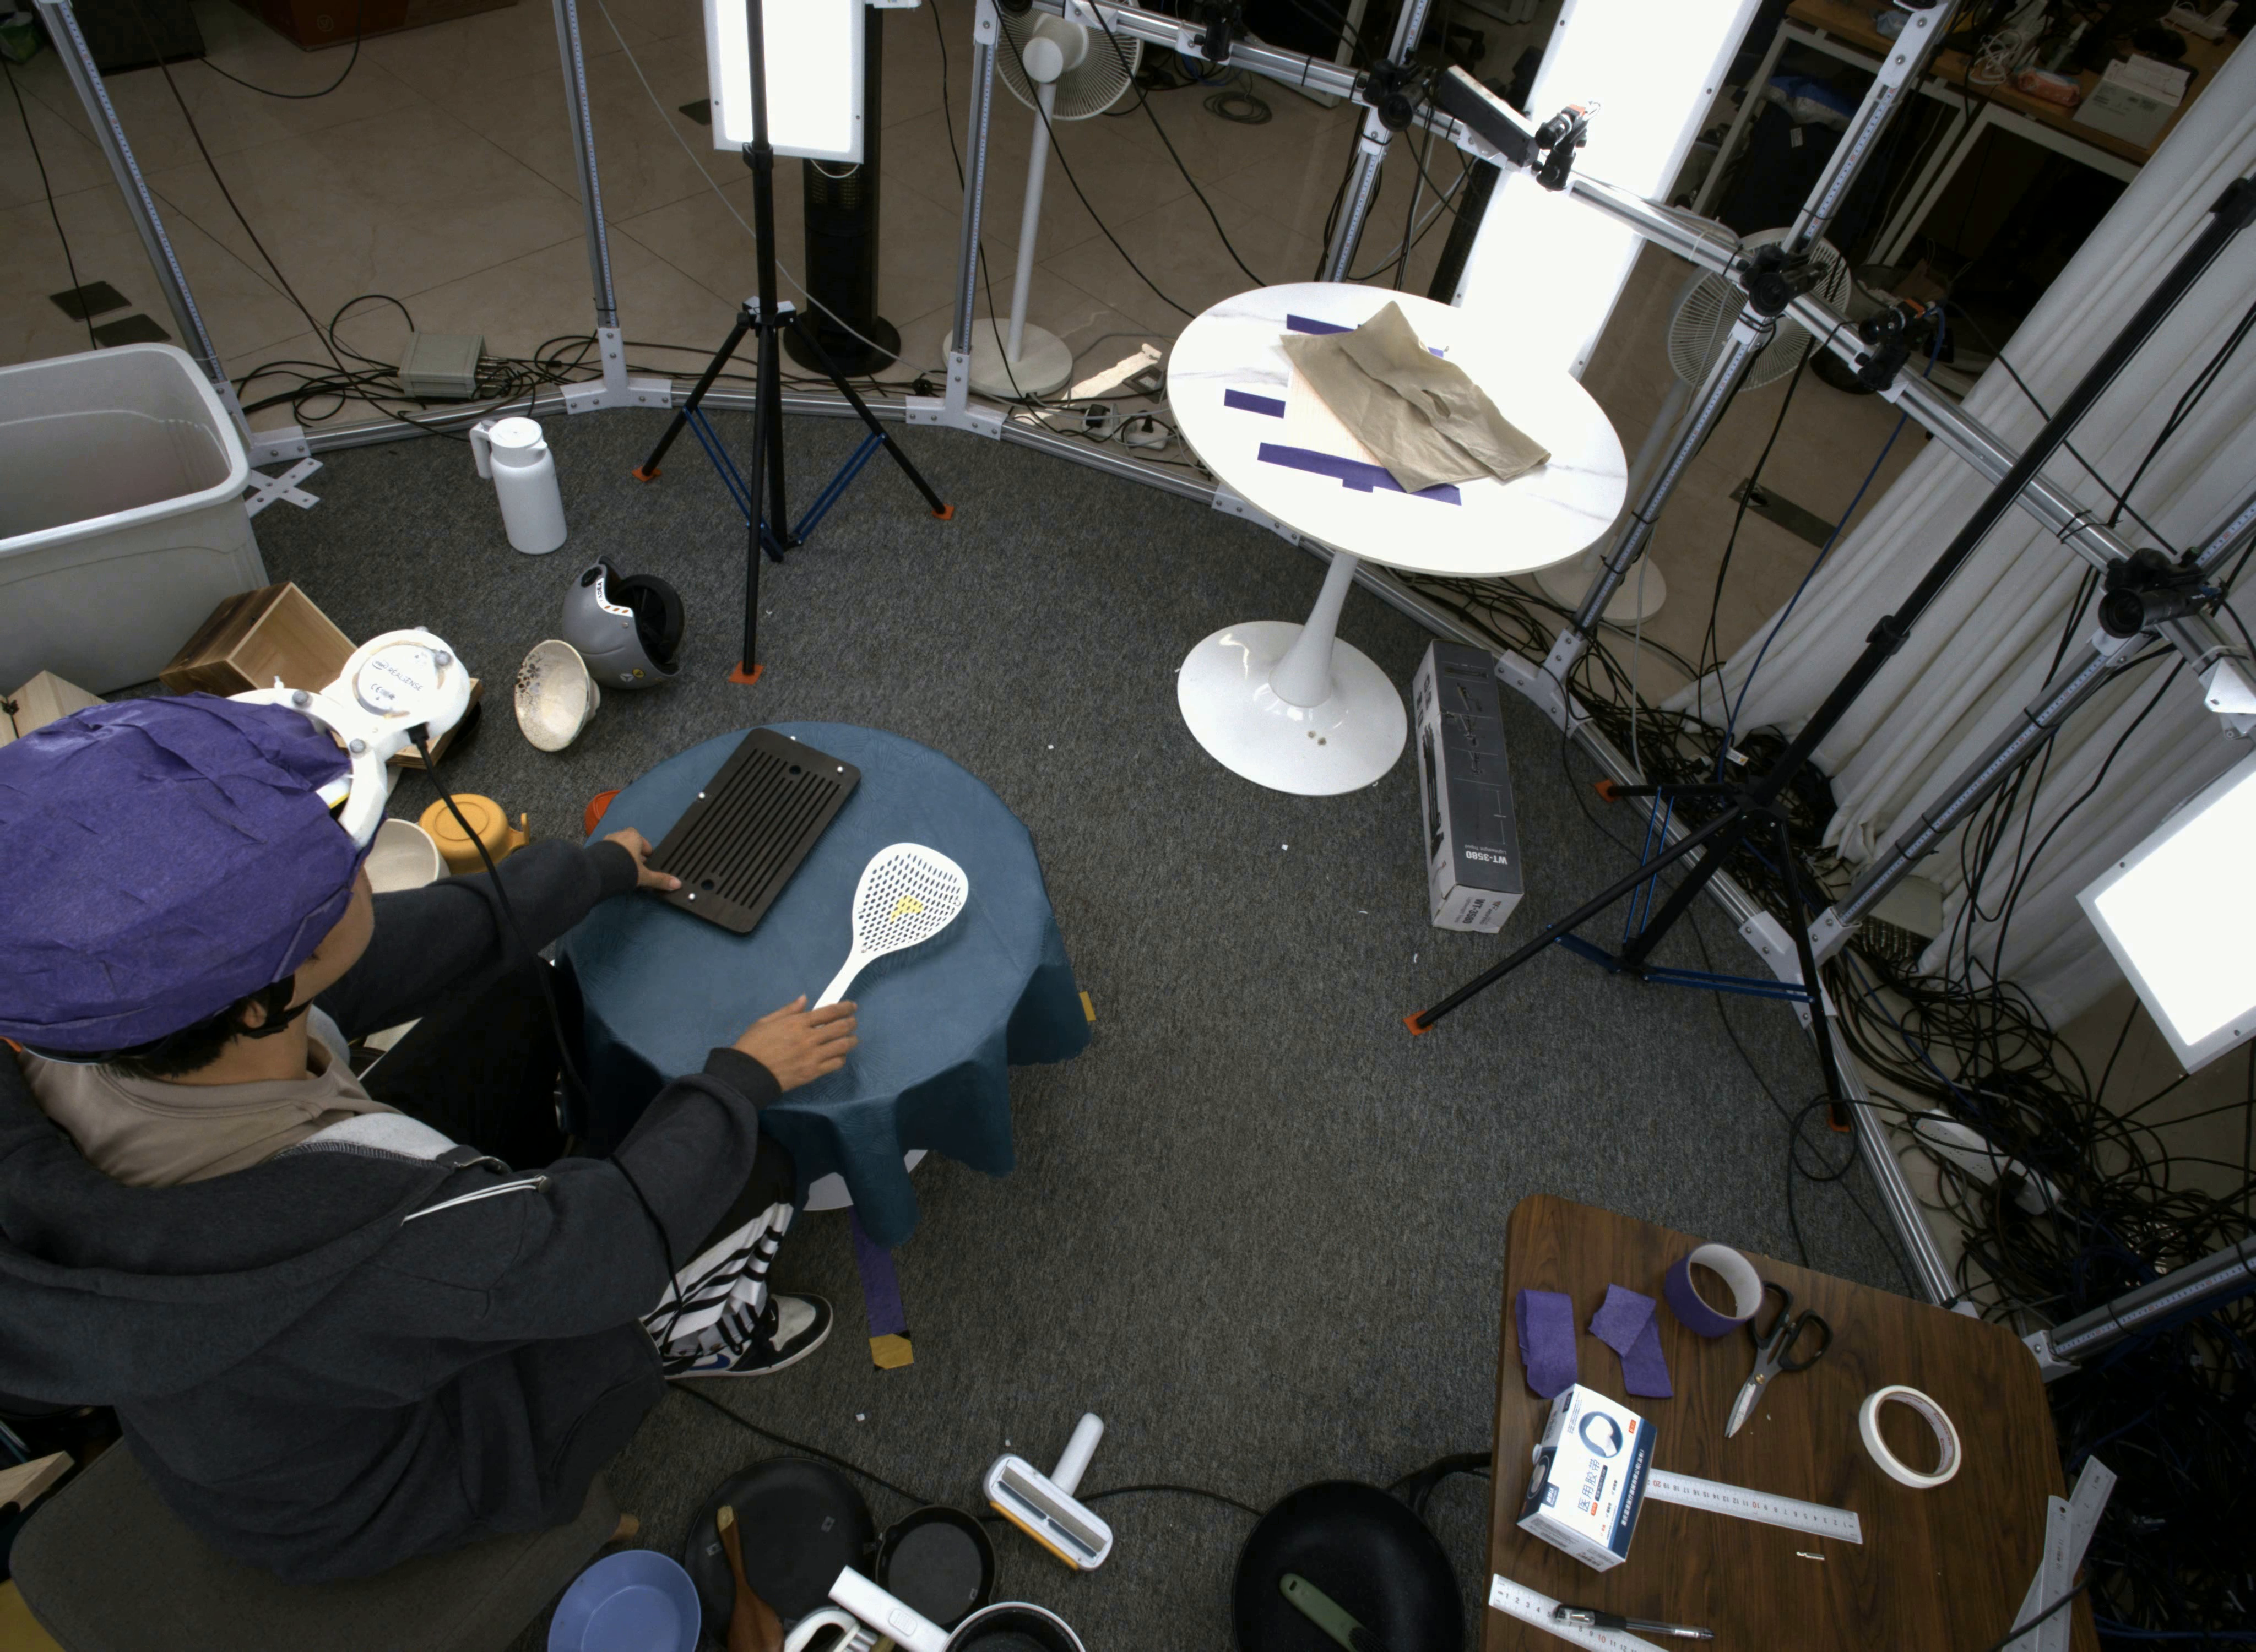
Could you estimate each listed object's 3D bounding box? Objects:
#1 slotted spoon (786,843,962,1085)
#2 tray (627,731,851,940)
[{"bbox_3d":[-0.330,0.163,1.604,0.135,0.051,0.346,27,52,4],"label":"slotted spoon"},{"bbox_3d":[-0.504,0.006,1.692,0.168,0.019,0.303,23,52,3],"label":"tray"}]
